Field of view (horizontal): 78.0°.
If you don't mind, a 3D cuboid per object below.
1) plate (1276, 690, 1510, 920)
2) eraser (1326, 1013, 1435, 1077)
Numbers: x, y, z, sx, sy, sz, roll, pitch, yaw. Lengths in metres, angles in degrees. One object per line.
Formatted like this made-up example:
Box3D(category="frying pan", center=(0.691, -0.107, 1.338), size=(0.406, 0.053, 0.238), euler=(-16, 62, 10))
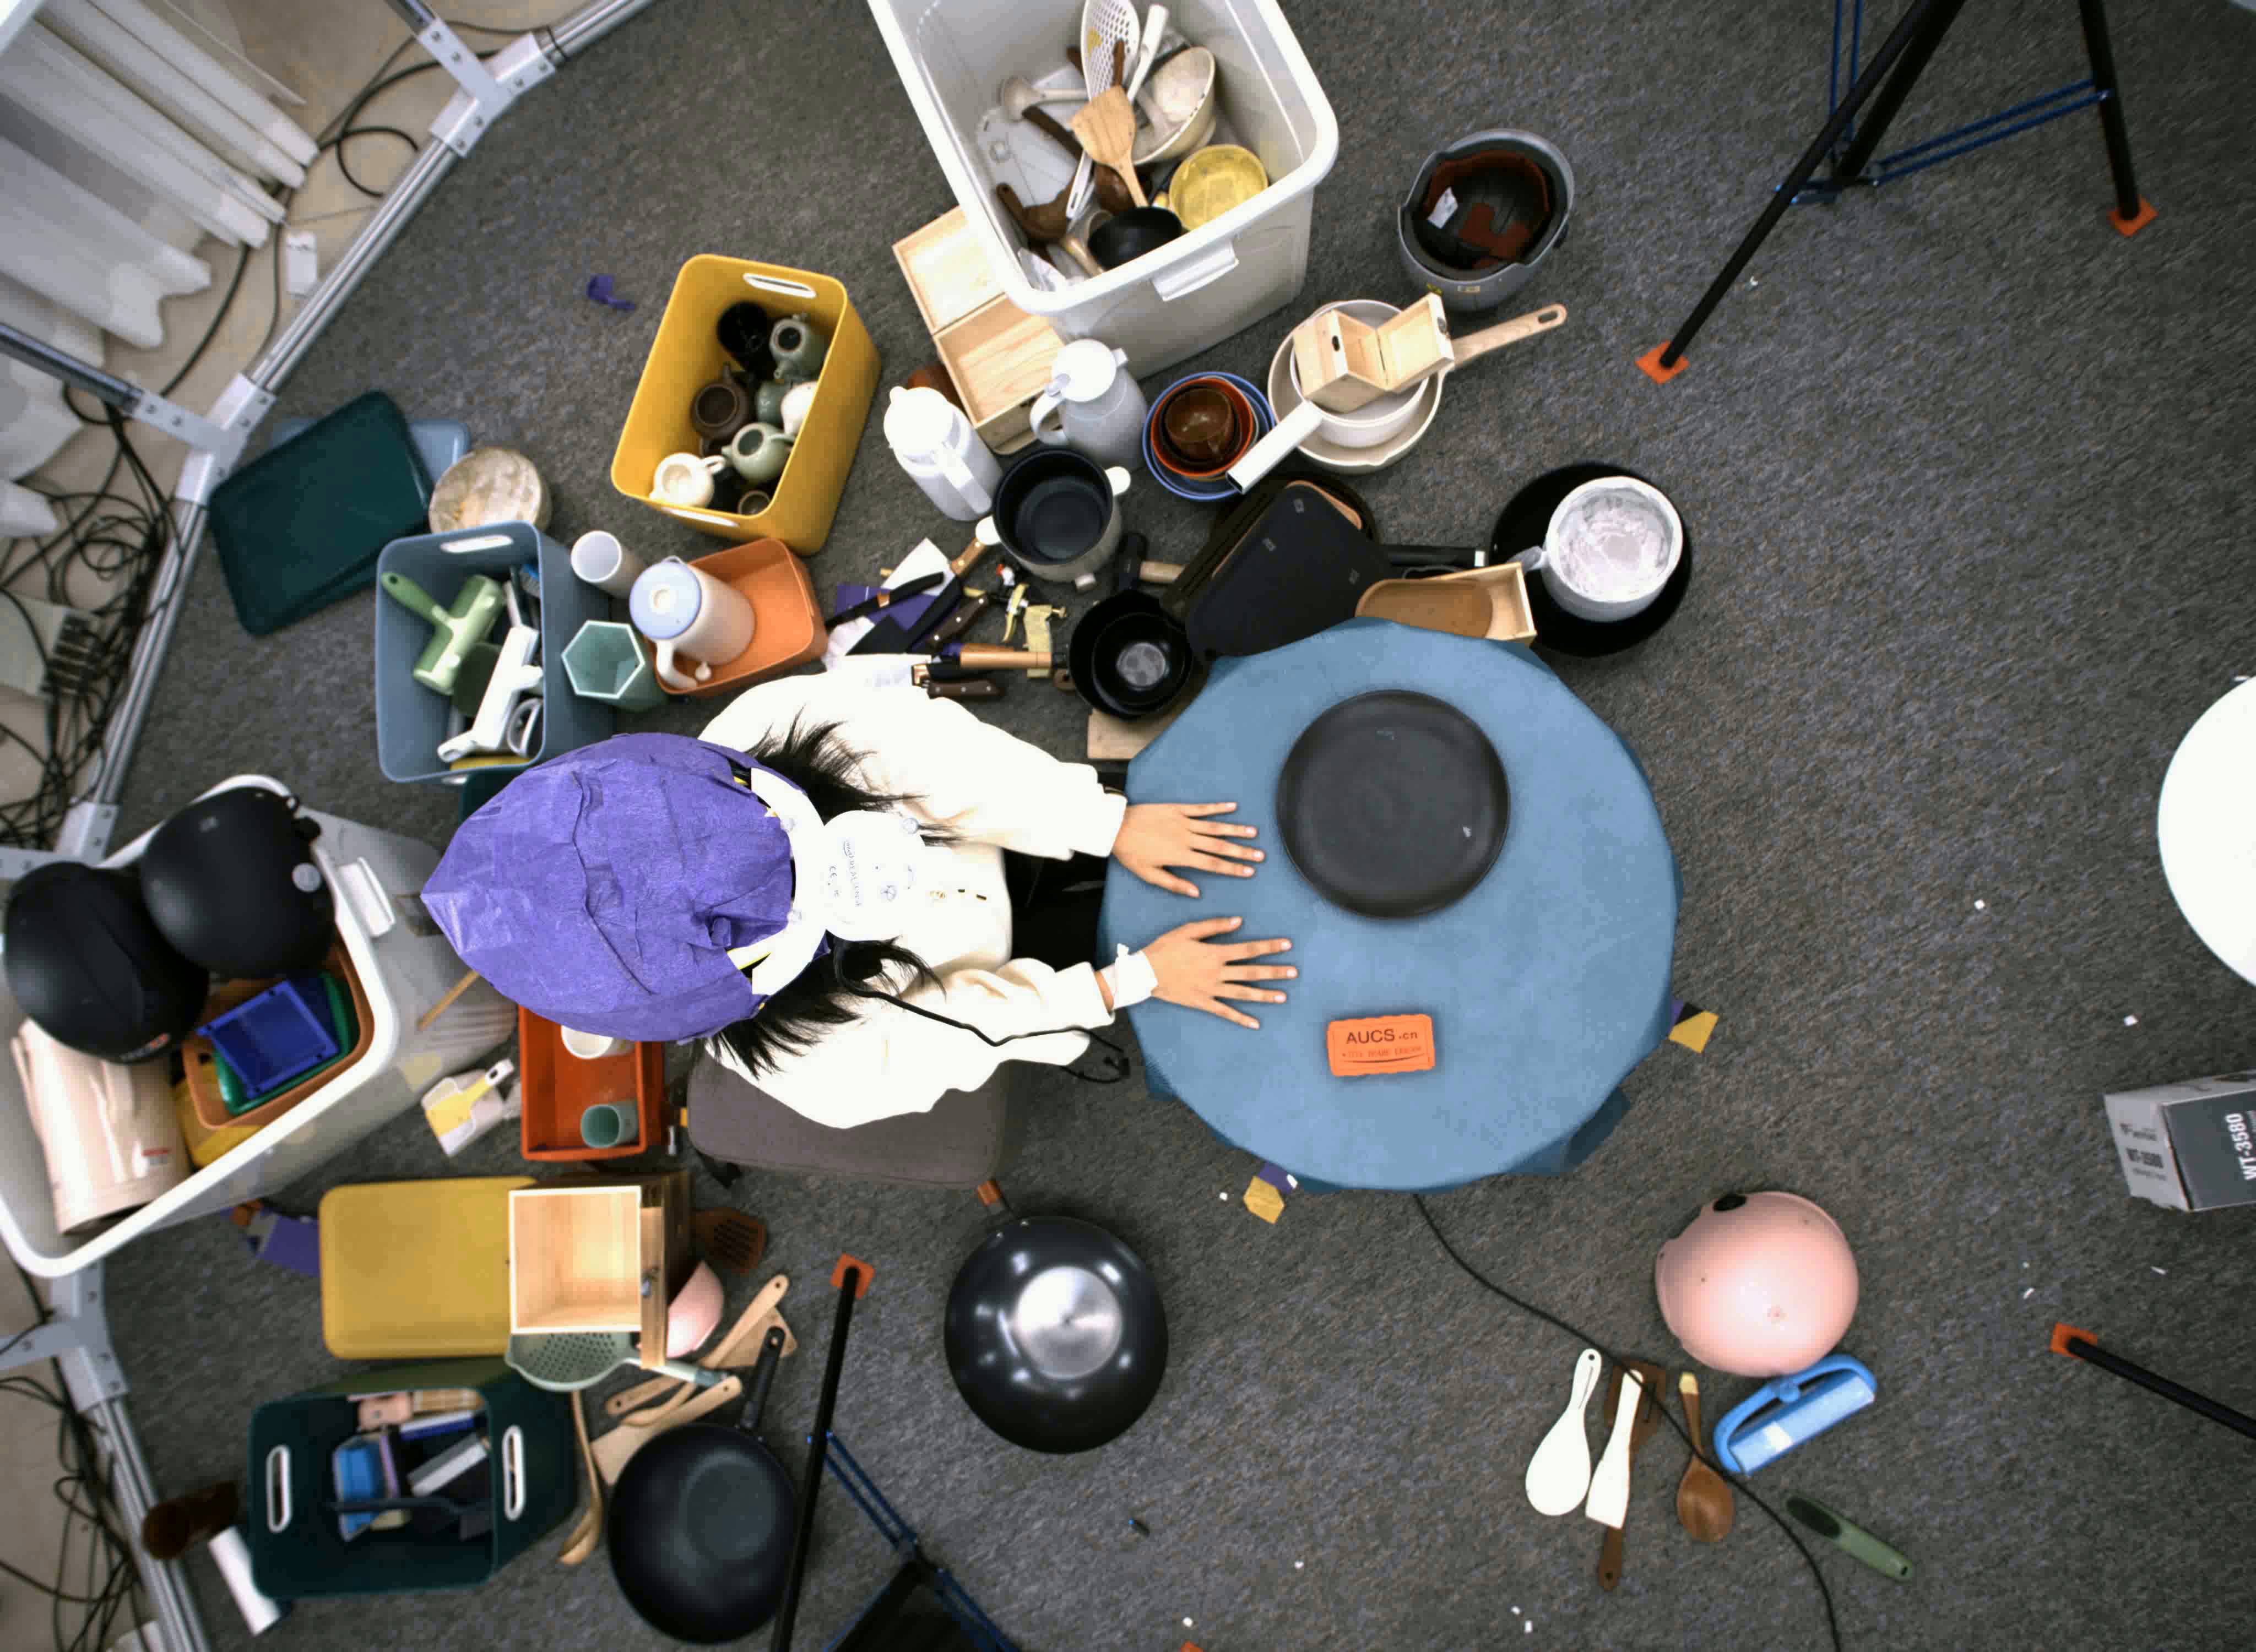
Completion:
Box3D(category="plate", center=(0.278, -0.024, 1.452), size=(0.245, 0.023, 0.243), euler=(-1, 87, 11))
Box3D(category="eraser", center=(0.262, 0.226, 1.438), size=(0.108, 0.023, 0.059), euler=(-6, 86, 8))
